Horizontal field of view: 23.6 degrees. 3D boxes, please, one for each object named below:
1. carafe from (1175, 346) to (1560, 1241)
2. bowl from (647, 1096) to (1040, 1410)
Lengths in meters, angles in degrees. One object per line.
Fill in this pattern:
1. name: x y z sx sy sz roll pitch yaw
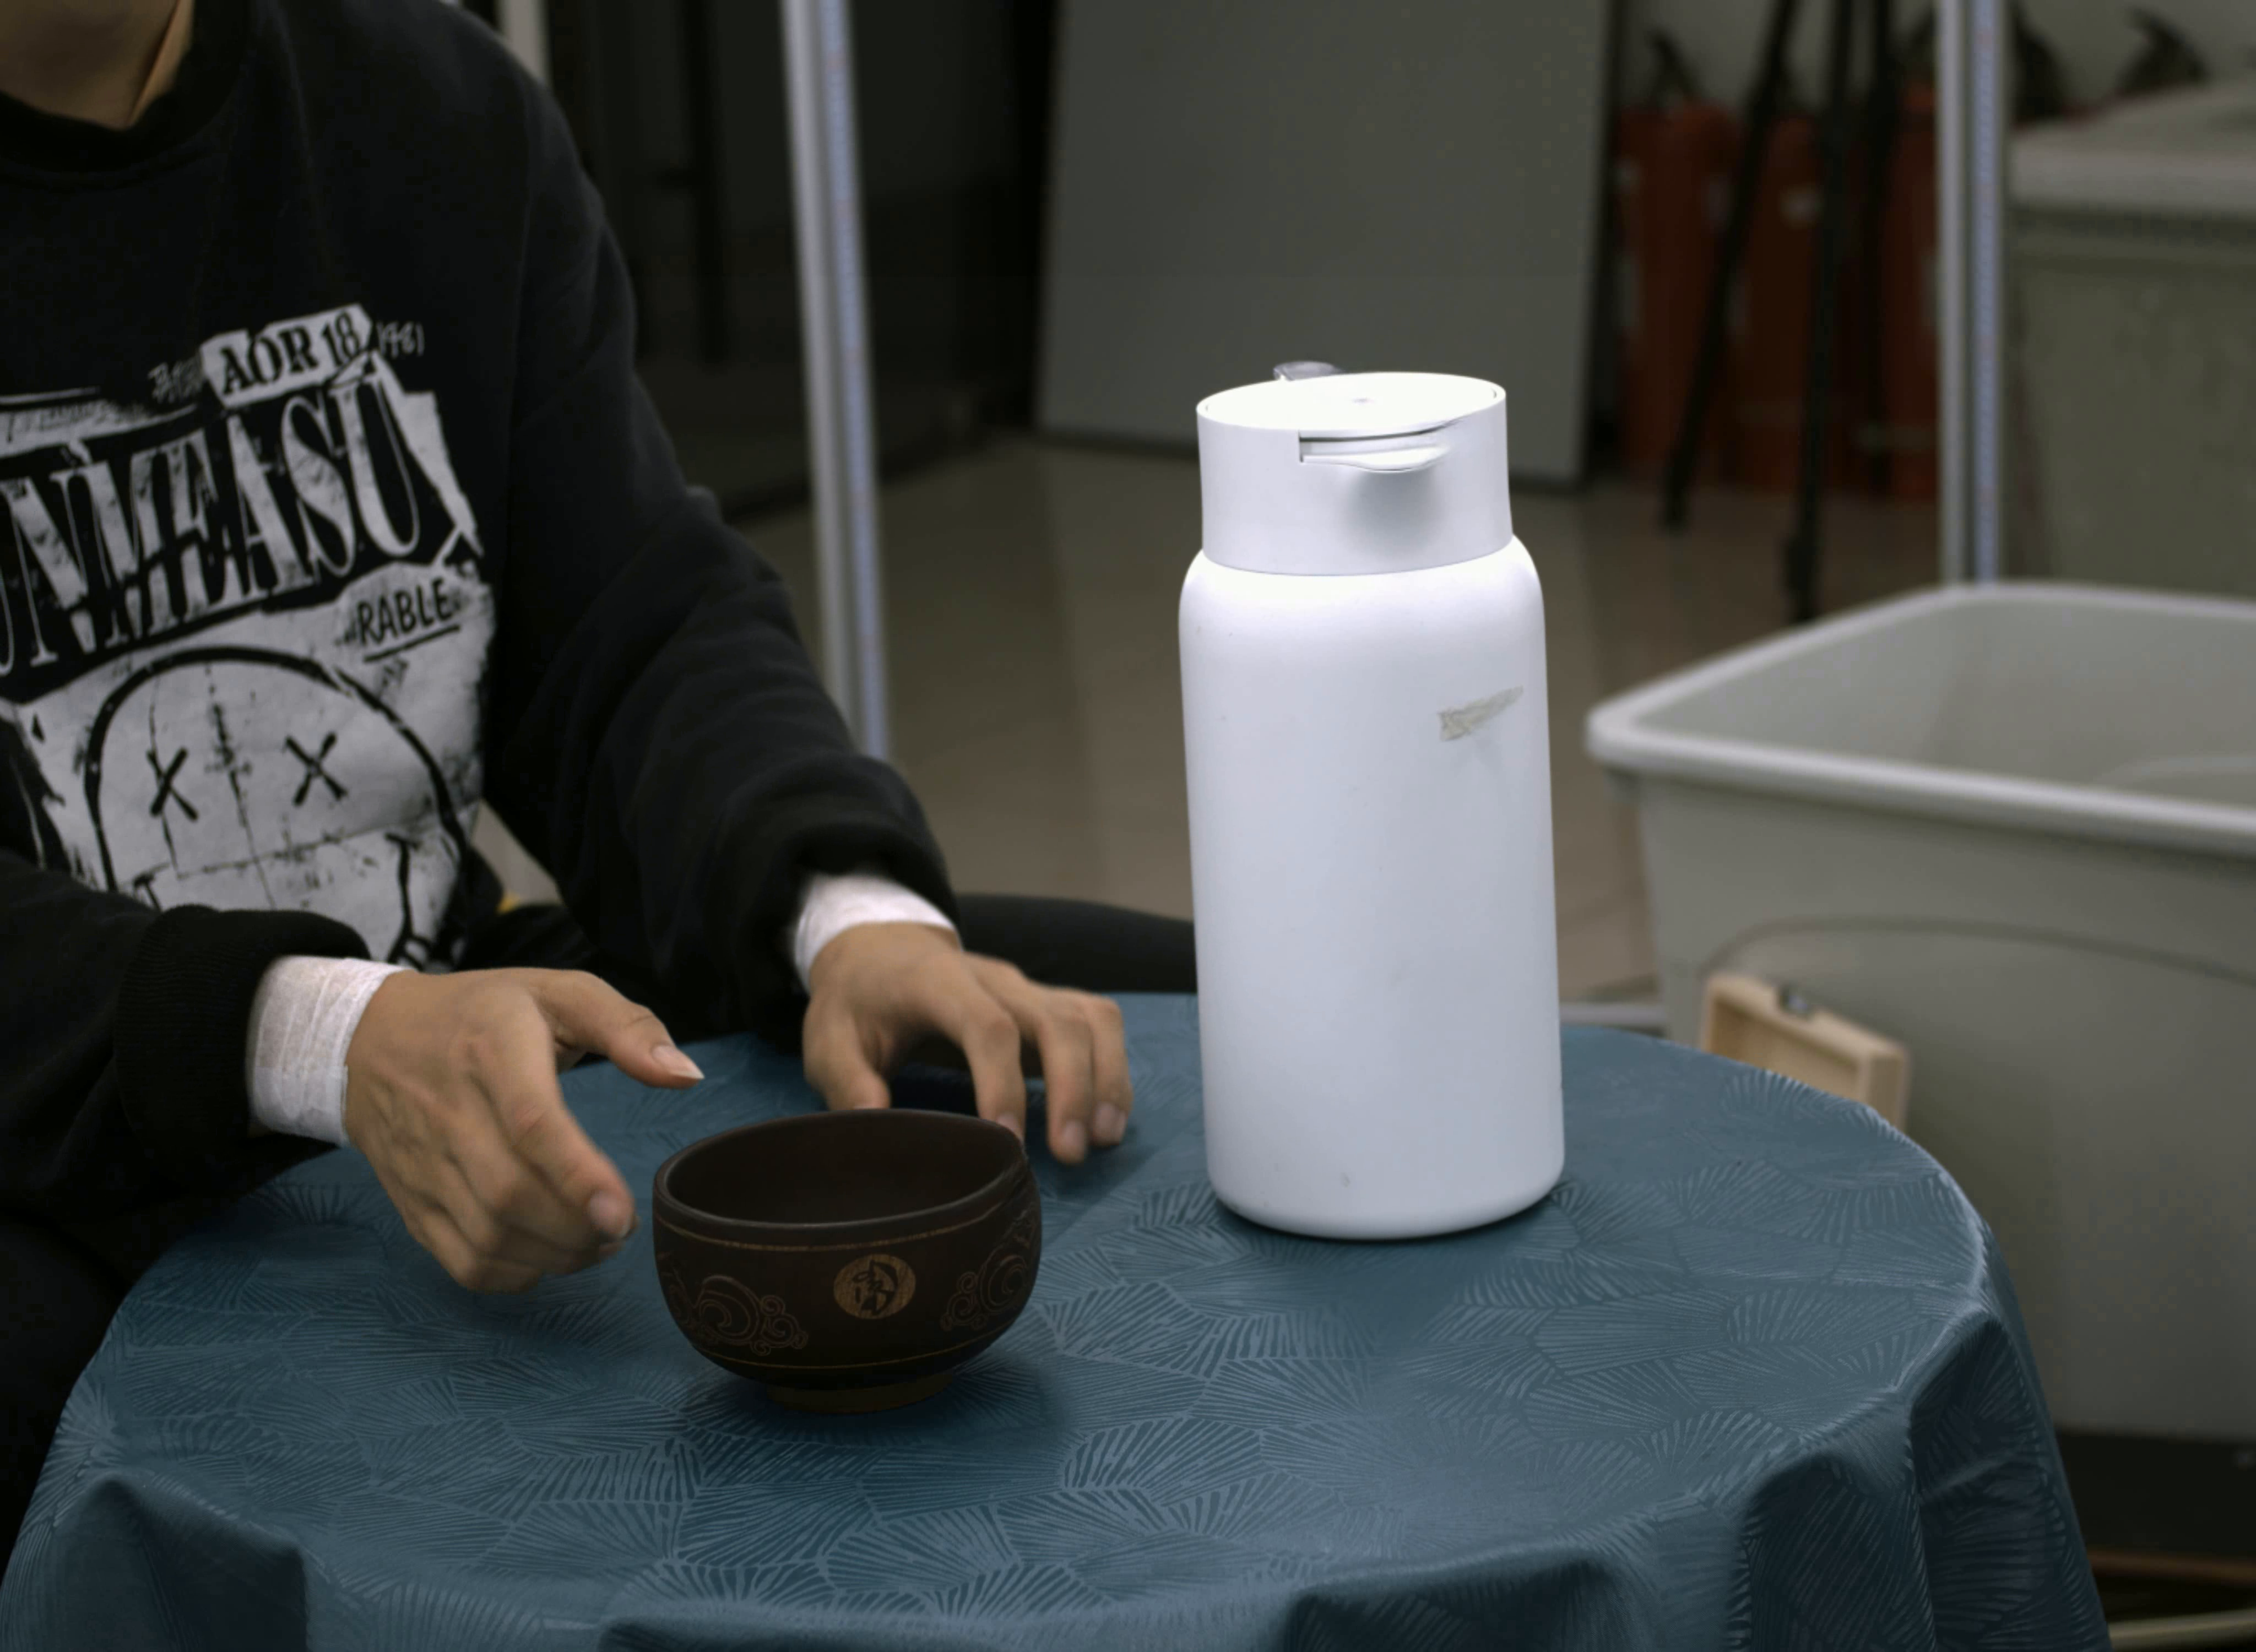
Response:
1. carafe: 0.071 -0.014 1.739 0.121 0.272 0.174 -8 14 -10
2. bowl: -0.083 0.131 1.605 0.116 0.070 0.118 -4 15 0
